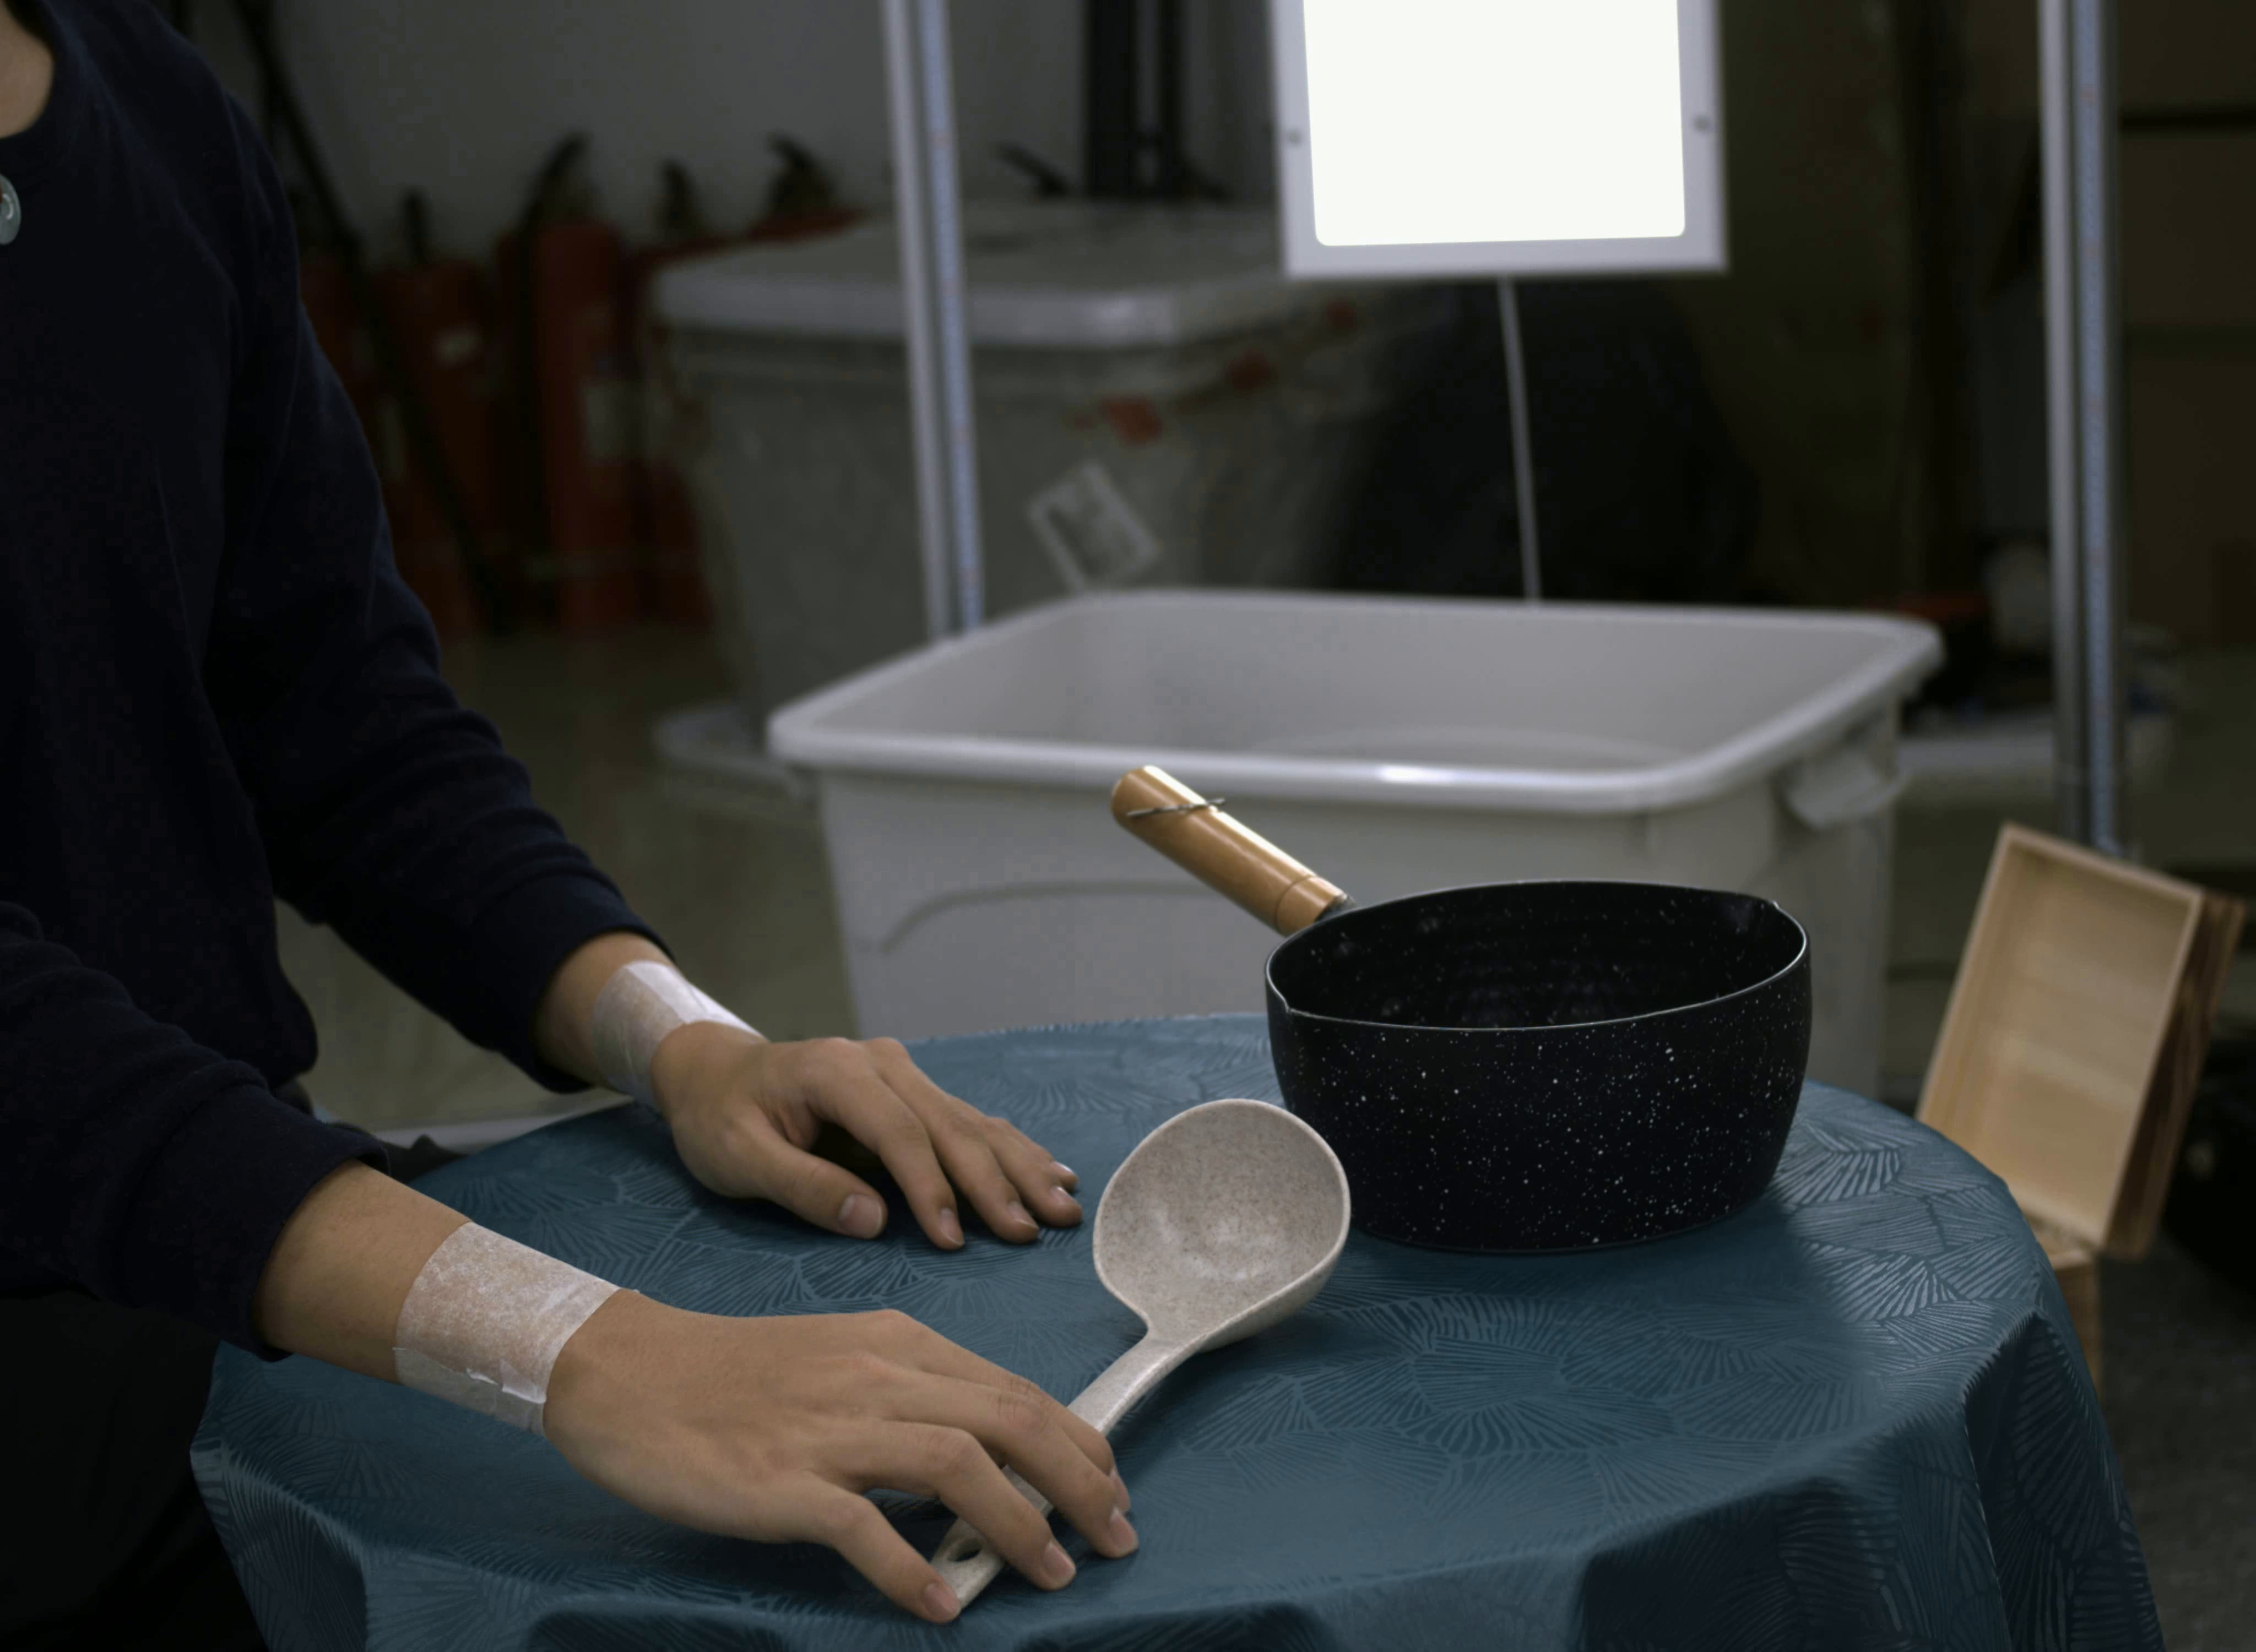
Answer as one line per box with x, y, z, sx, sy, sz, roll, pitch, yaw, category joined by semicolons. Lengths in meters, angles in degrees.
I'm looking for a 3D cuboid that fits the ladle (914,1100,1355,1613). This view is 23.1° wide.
-0.009;0.153;1.648;0.091;0.069;0.269;-1;14;23;ladle

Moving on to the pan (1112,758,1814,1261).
0.095;0.057;1.915;0.203;0.108;0.349;-14;18;-30;pan
